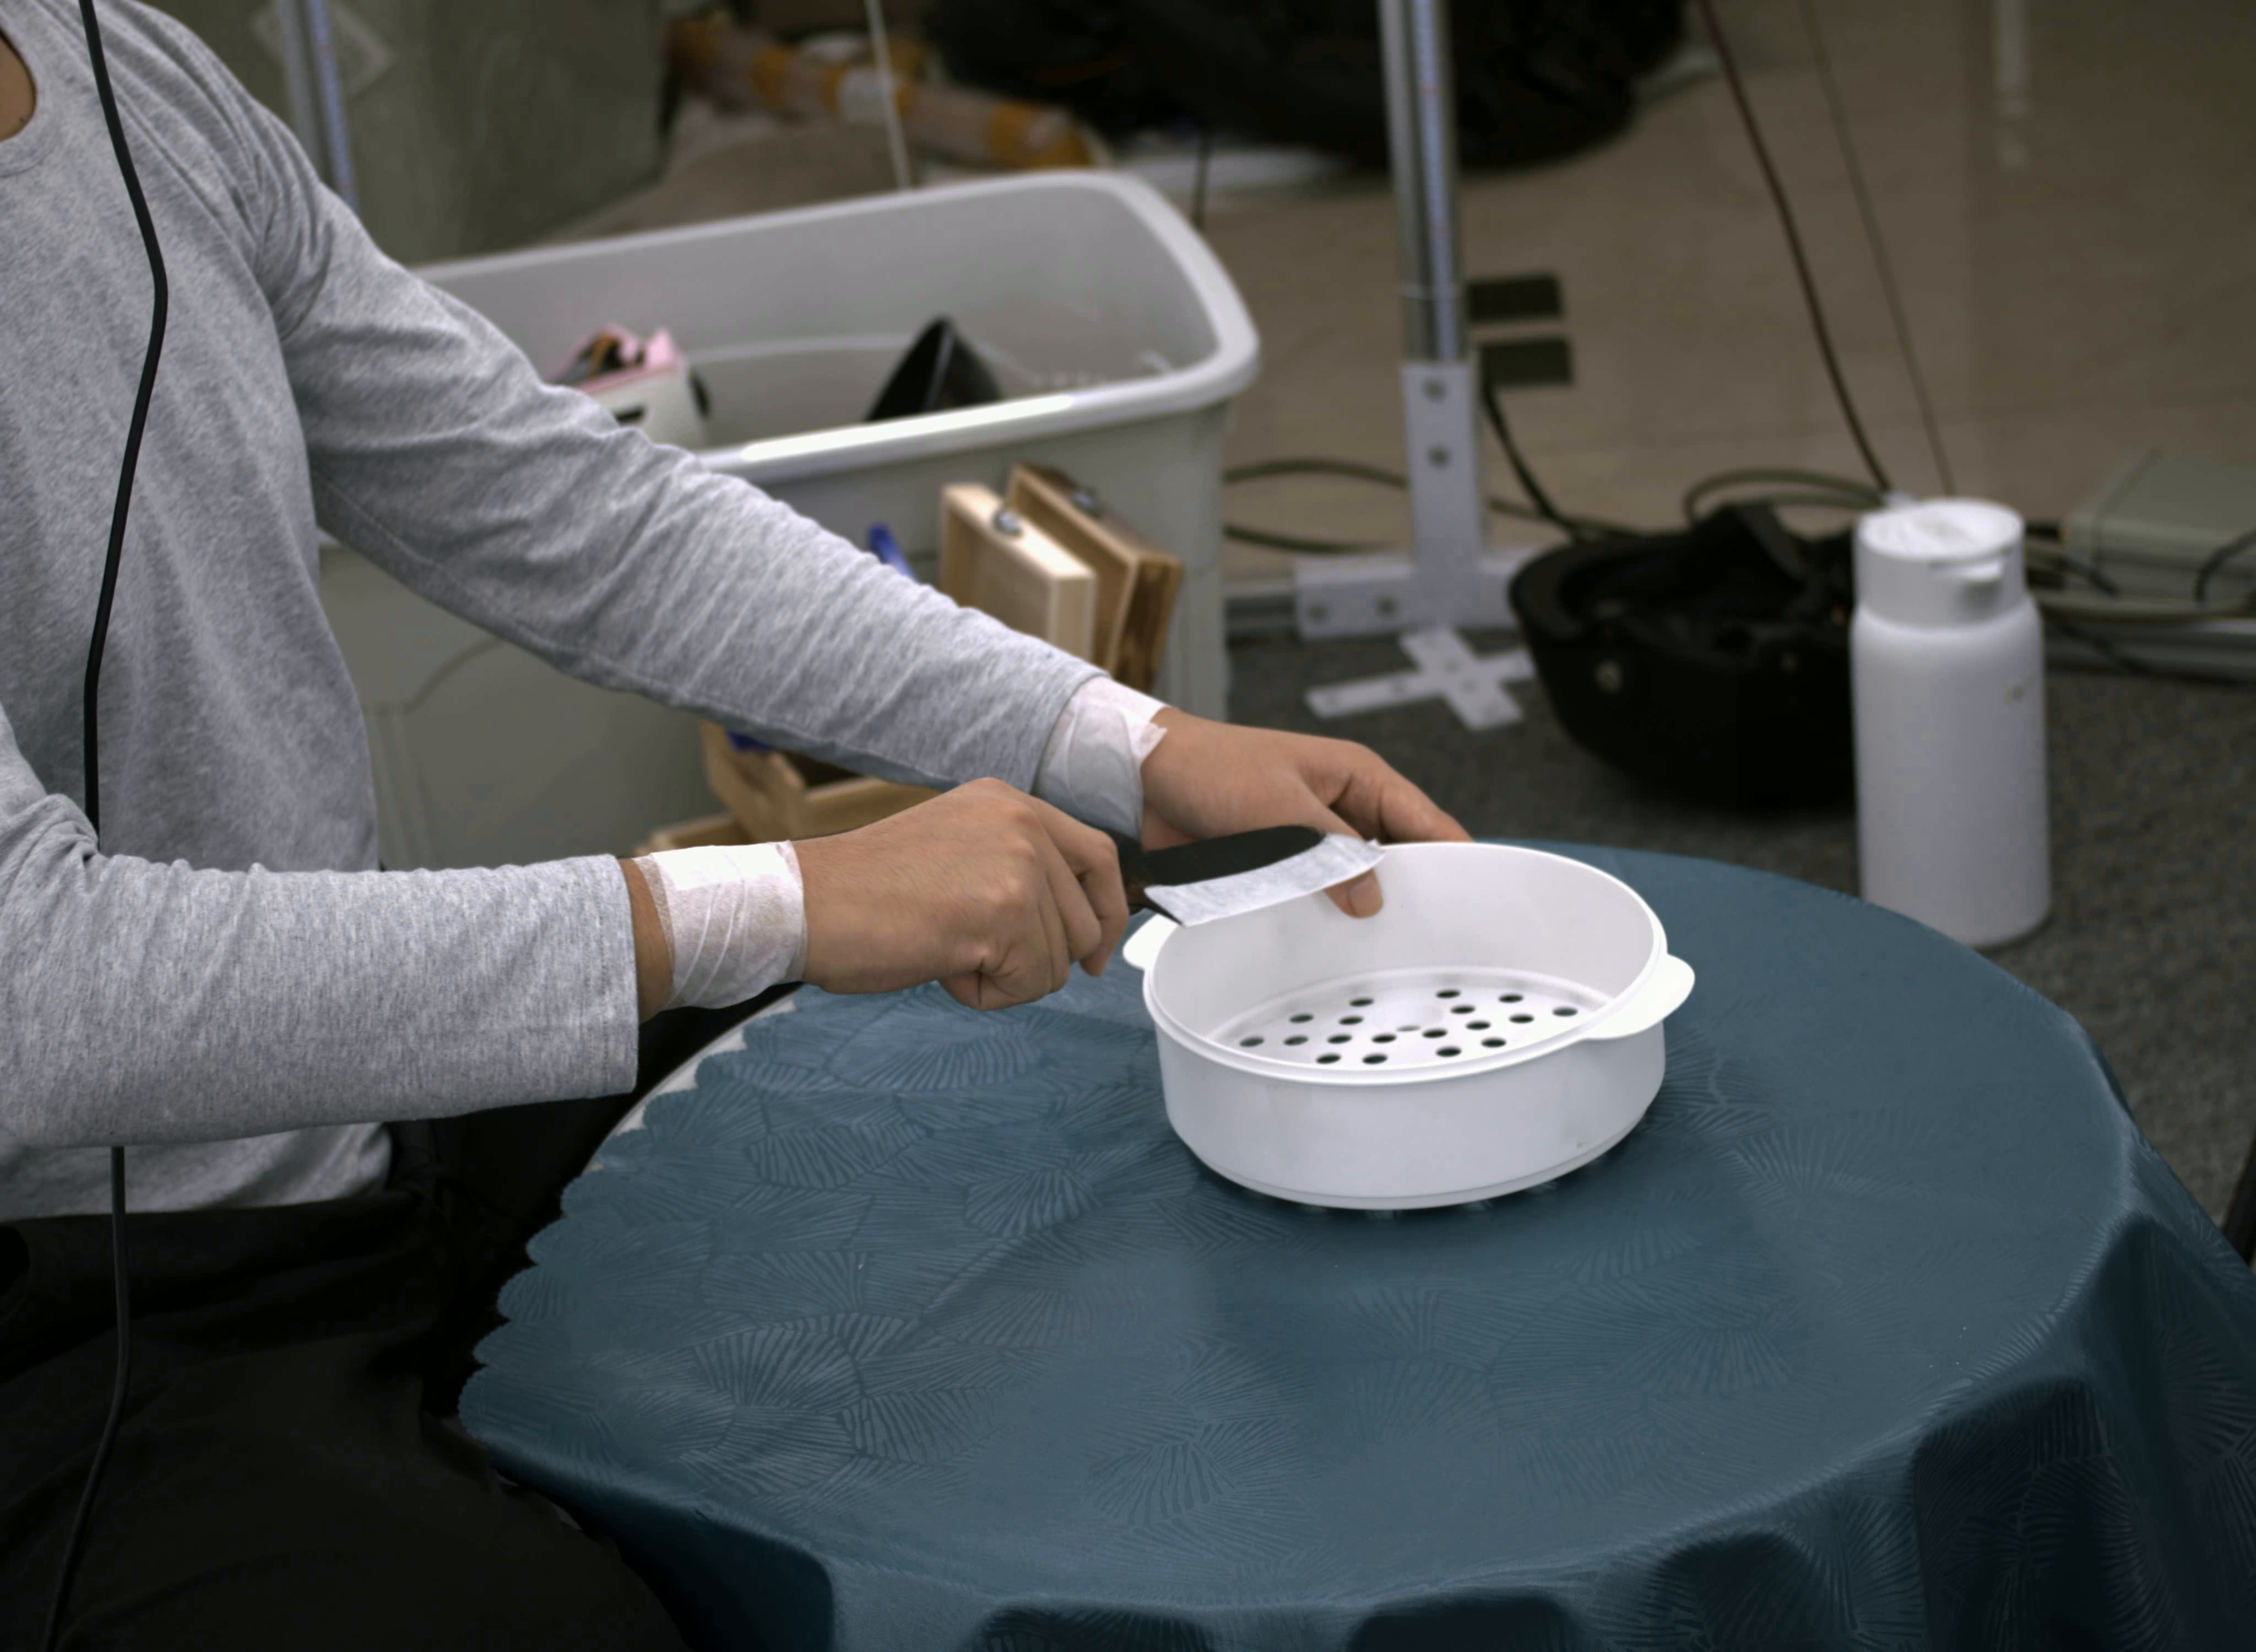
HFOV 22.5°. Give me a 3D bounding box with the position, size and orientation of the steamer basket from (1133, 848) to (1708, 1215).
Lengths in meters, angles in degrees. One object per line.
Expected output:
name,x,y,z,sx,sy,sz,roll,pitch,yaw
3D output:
steamer basket,0.113,0.079,2.174,0.229,0.070,0.199,8,28,30

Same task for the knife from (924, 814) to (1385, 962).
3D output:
knife,0.016,0.021,2.109,0.050,0.020,0.288,39,26,25
